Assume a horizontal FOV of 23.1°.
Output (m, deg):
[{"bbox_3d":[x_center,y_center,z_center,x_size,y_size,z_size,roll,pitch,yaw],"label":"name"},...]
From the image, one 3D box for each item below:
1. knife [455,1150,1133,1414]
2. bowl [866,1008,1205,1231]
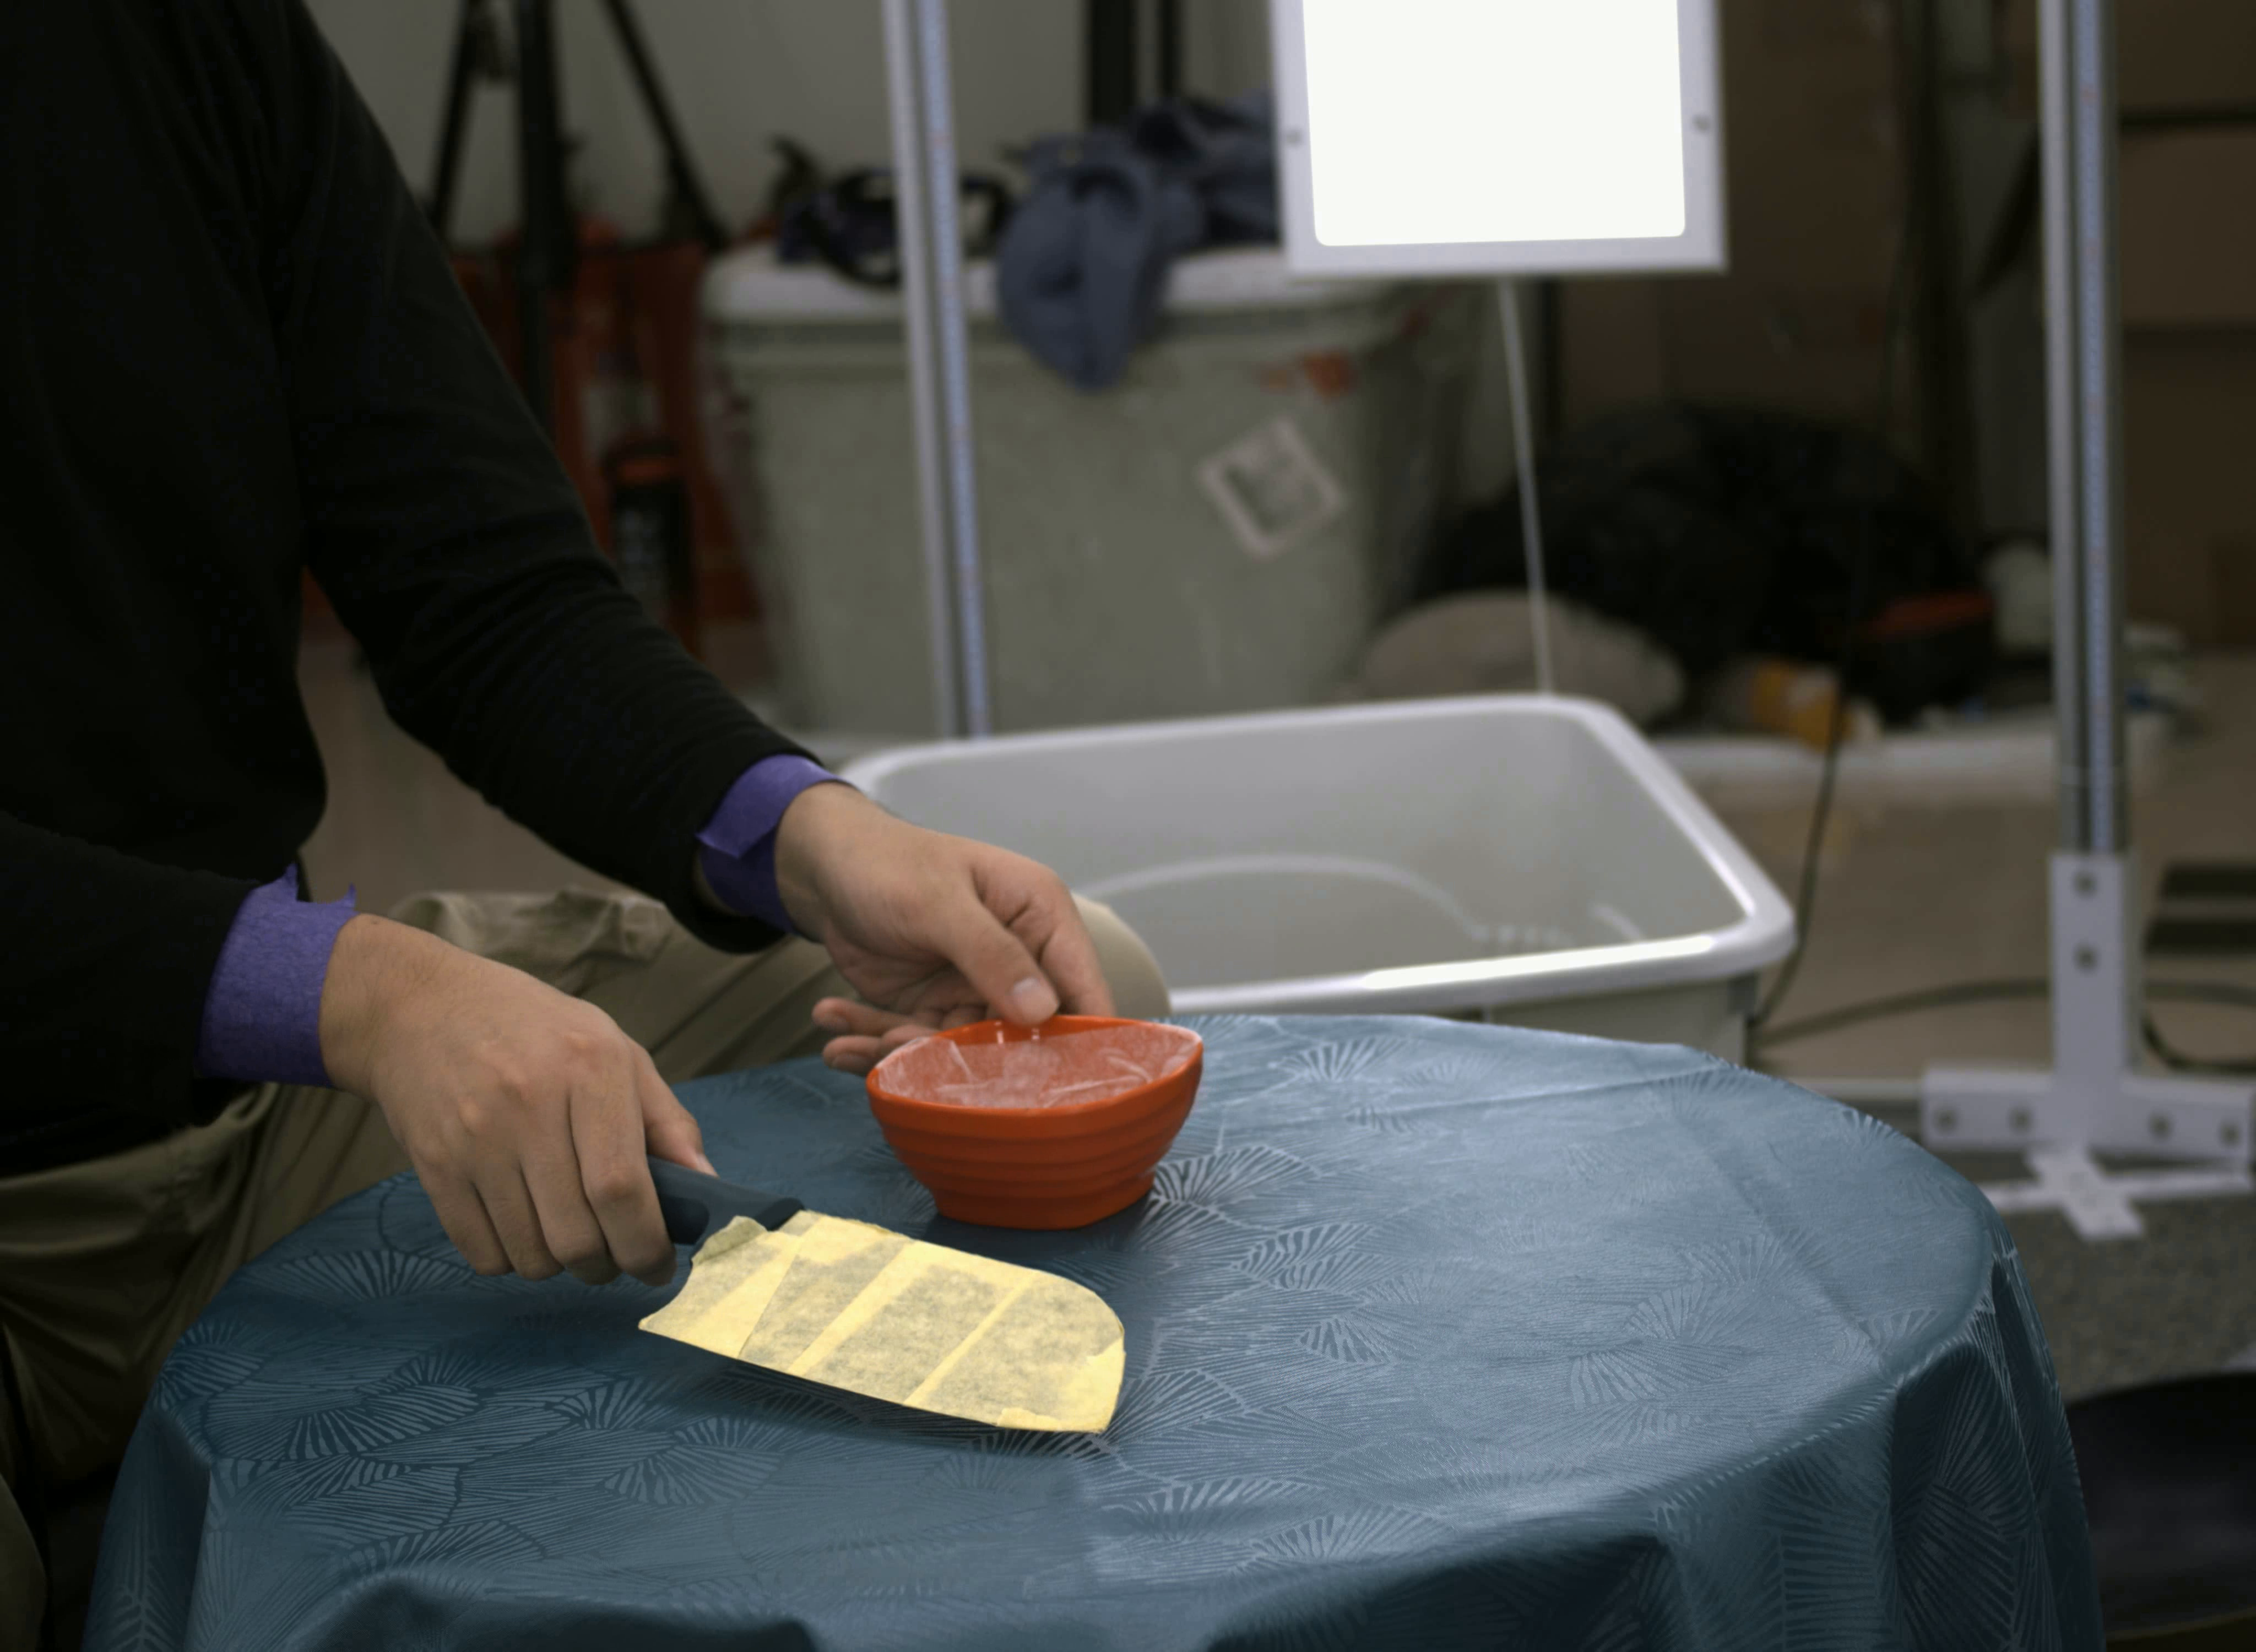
[{"bbox_3d":[-0.114,0.144,1.750,0.295,0.027,0.079,12,37,38],"label":"knife"},{"bbox_3d":[-0.030,0.103,1.895,0.118,0.051,0.119,-5,16,0],"label":"bowl"}]
